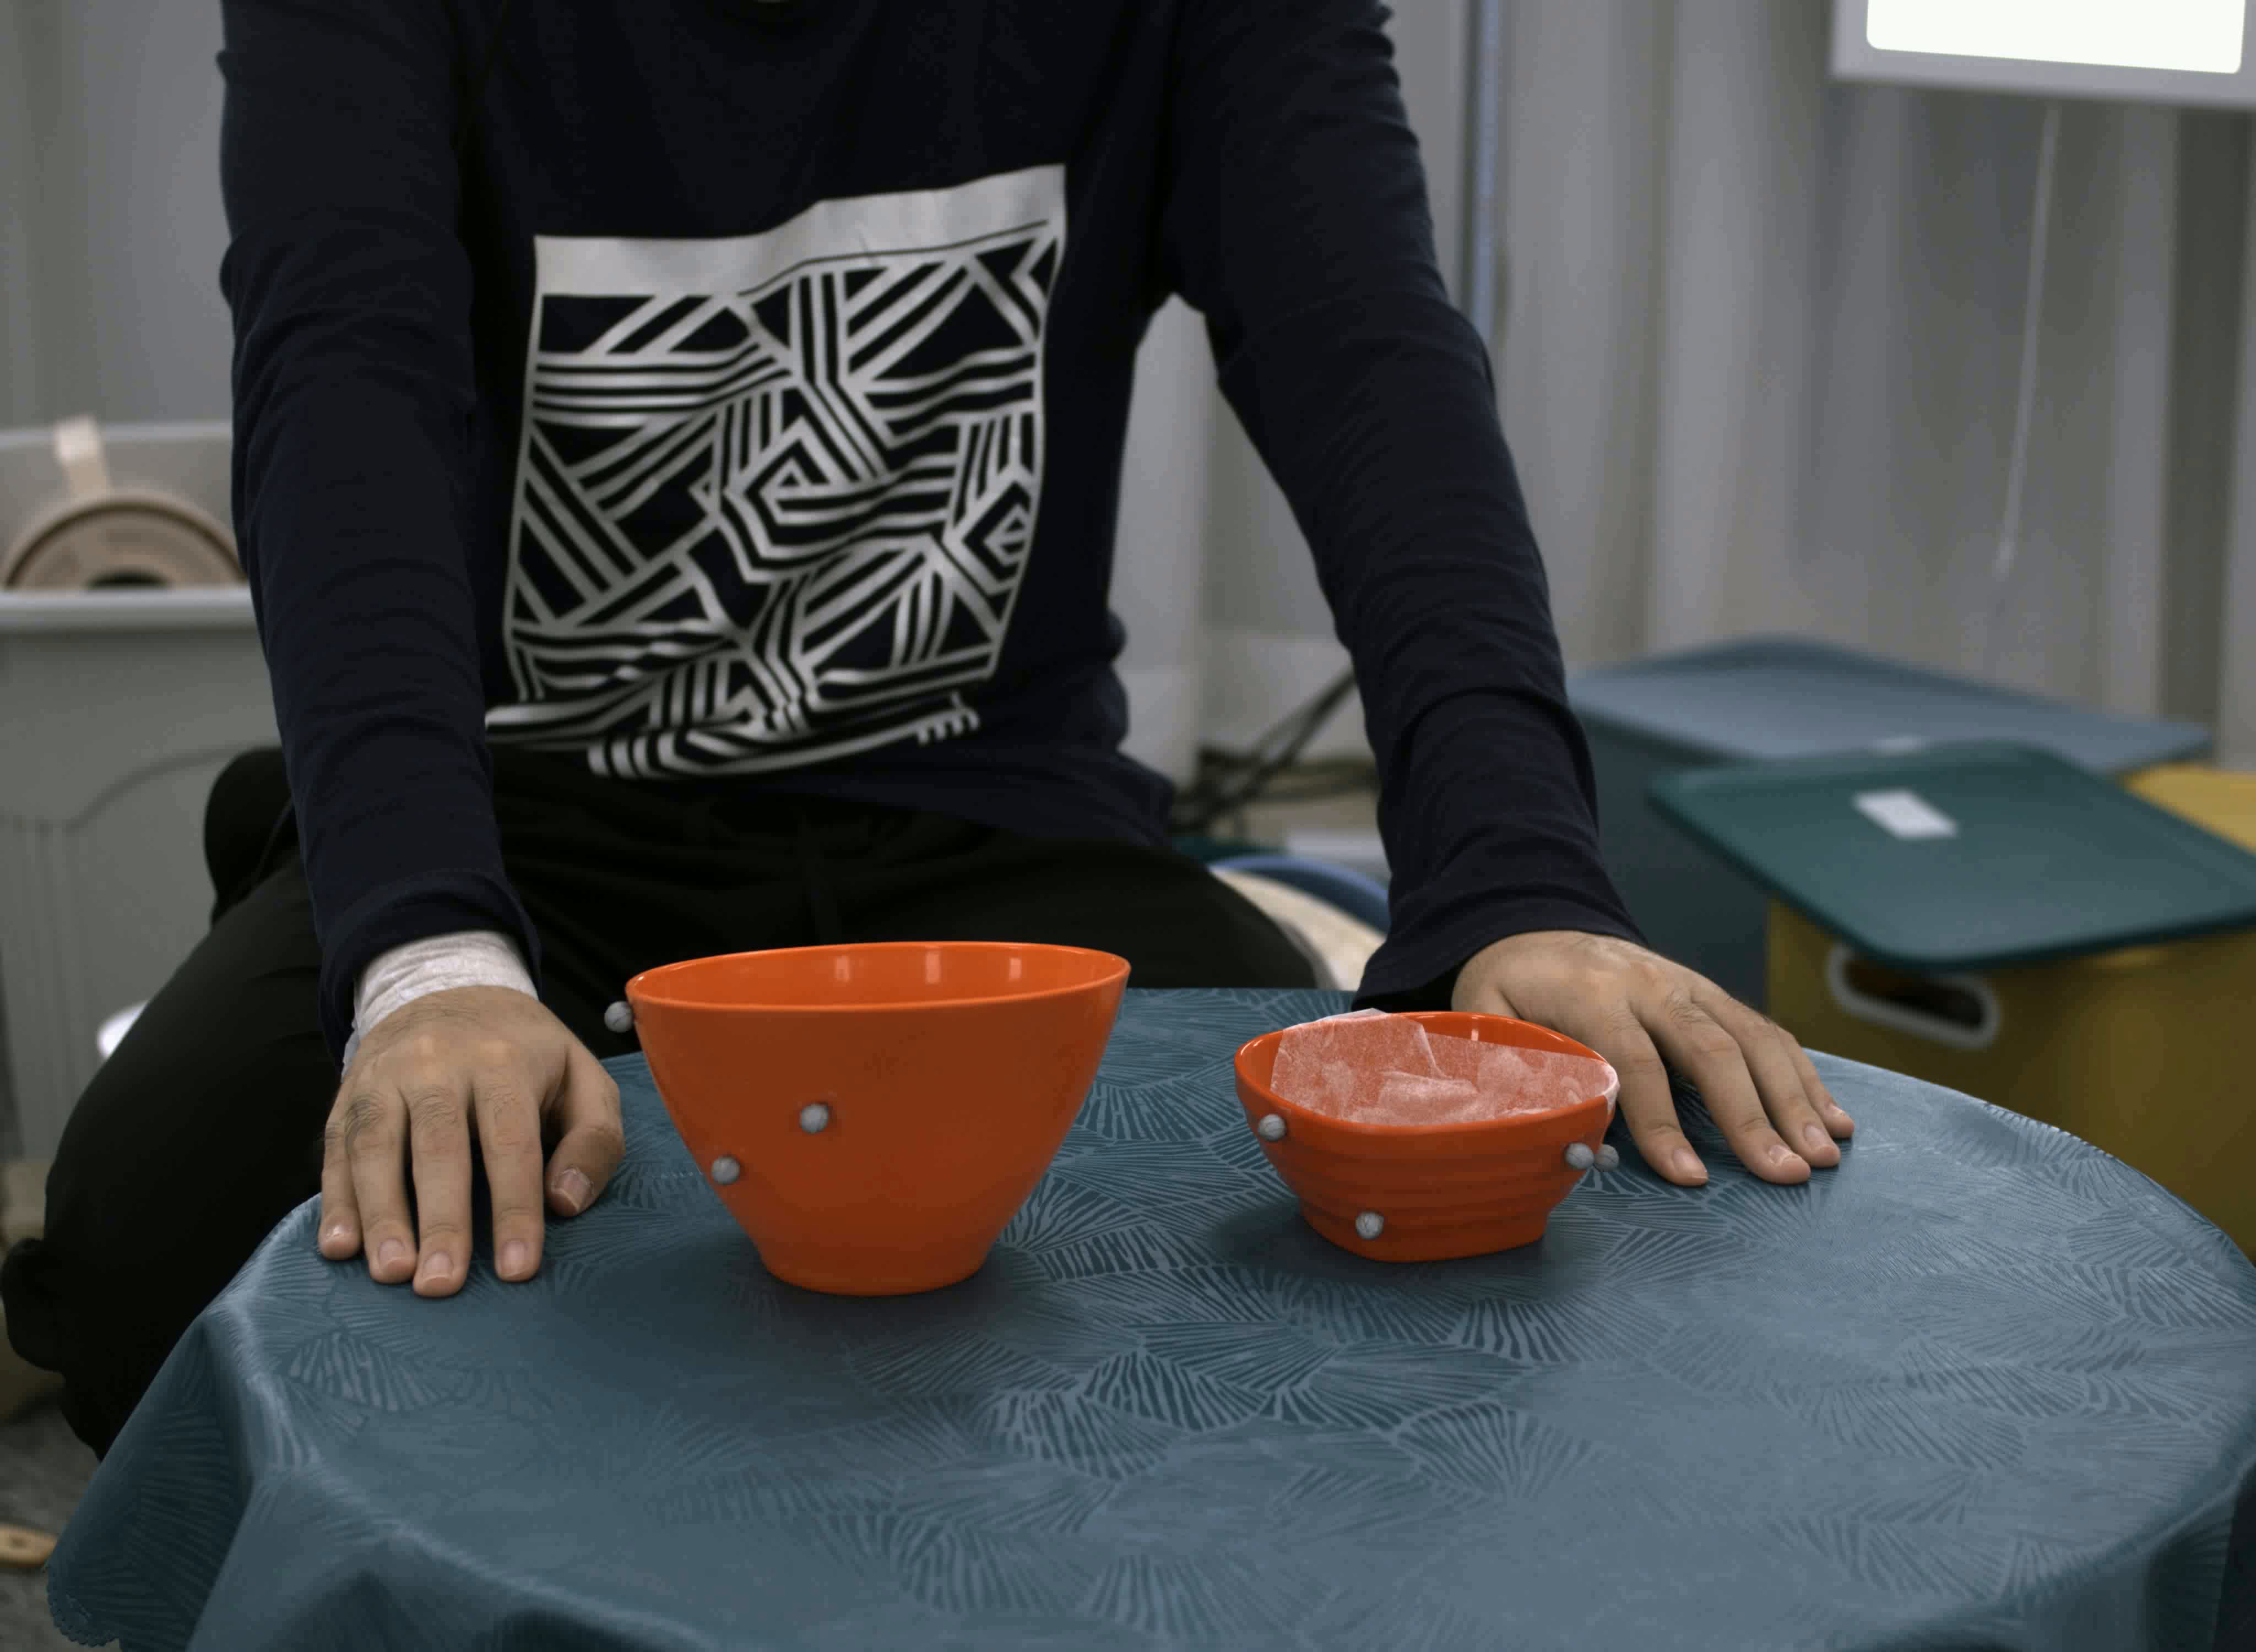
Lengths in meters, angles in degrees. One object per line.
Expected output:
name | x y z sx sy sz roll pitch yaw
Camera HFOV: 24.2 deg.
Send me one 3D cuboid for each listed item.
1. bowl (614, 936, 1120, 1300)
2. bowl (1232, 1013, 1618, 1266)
bowl | -0.076 0.083 1.540 0.147 0.105 0.147 0 16 1
bowl | 0.090 0.097 1.593 0.118 0.052 0.118 -1 15 1
